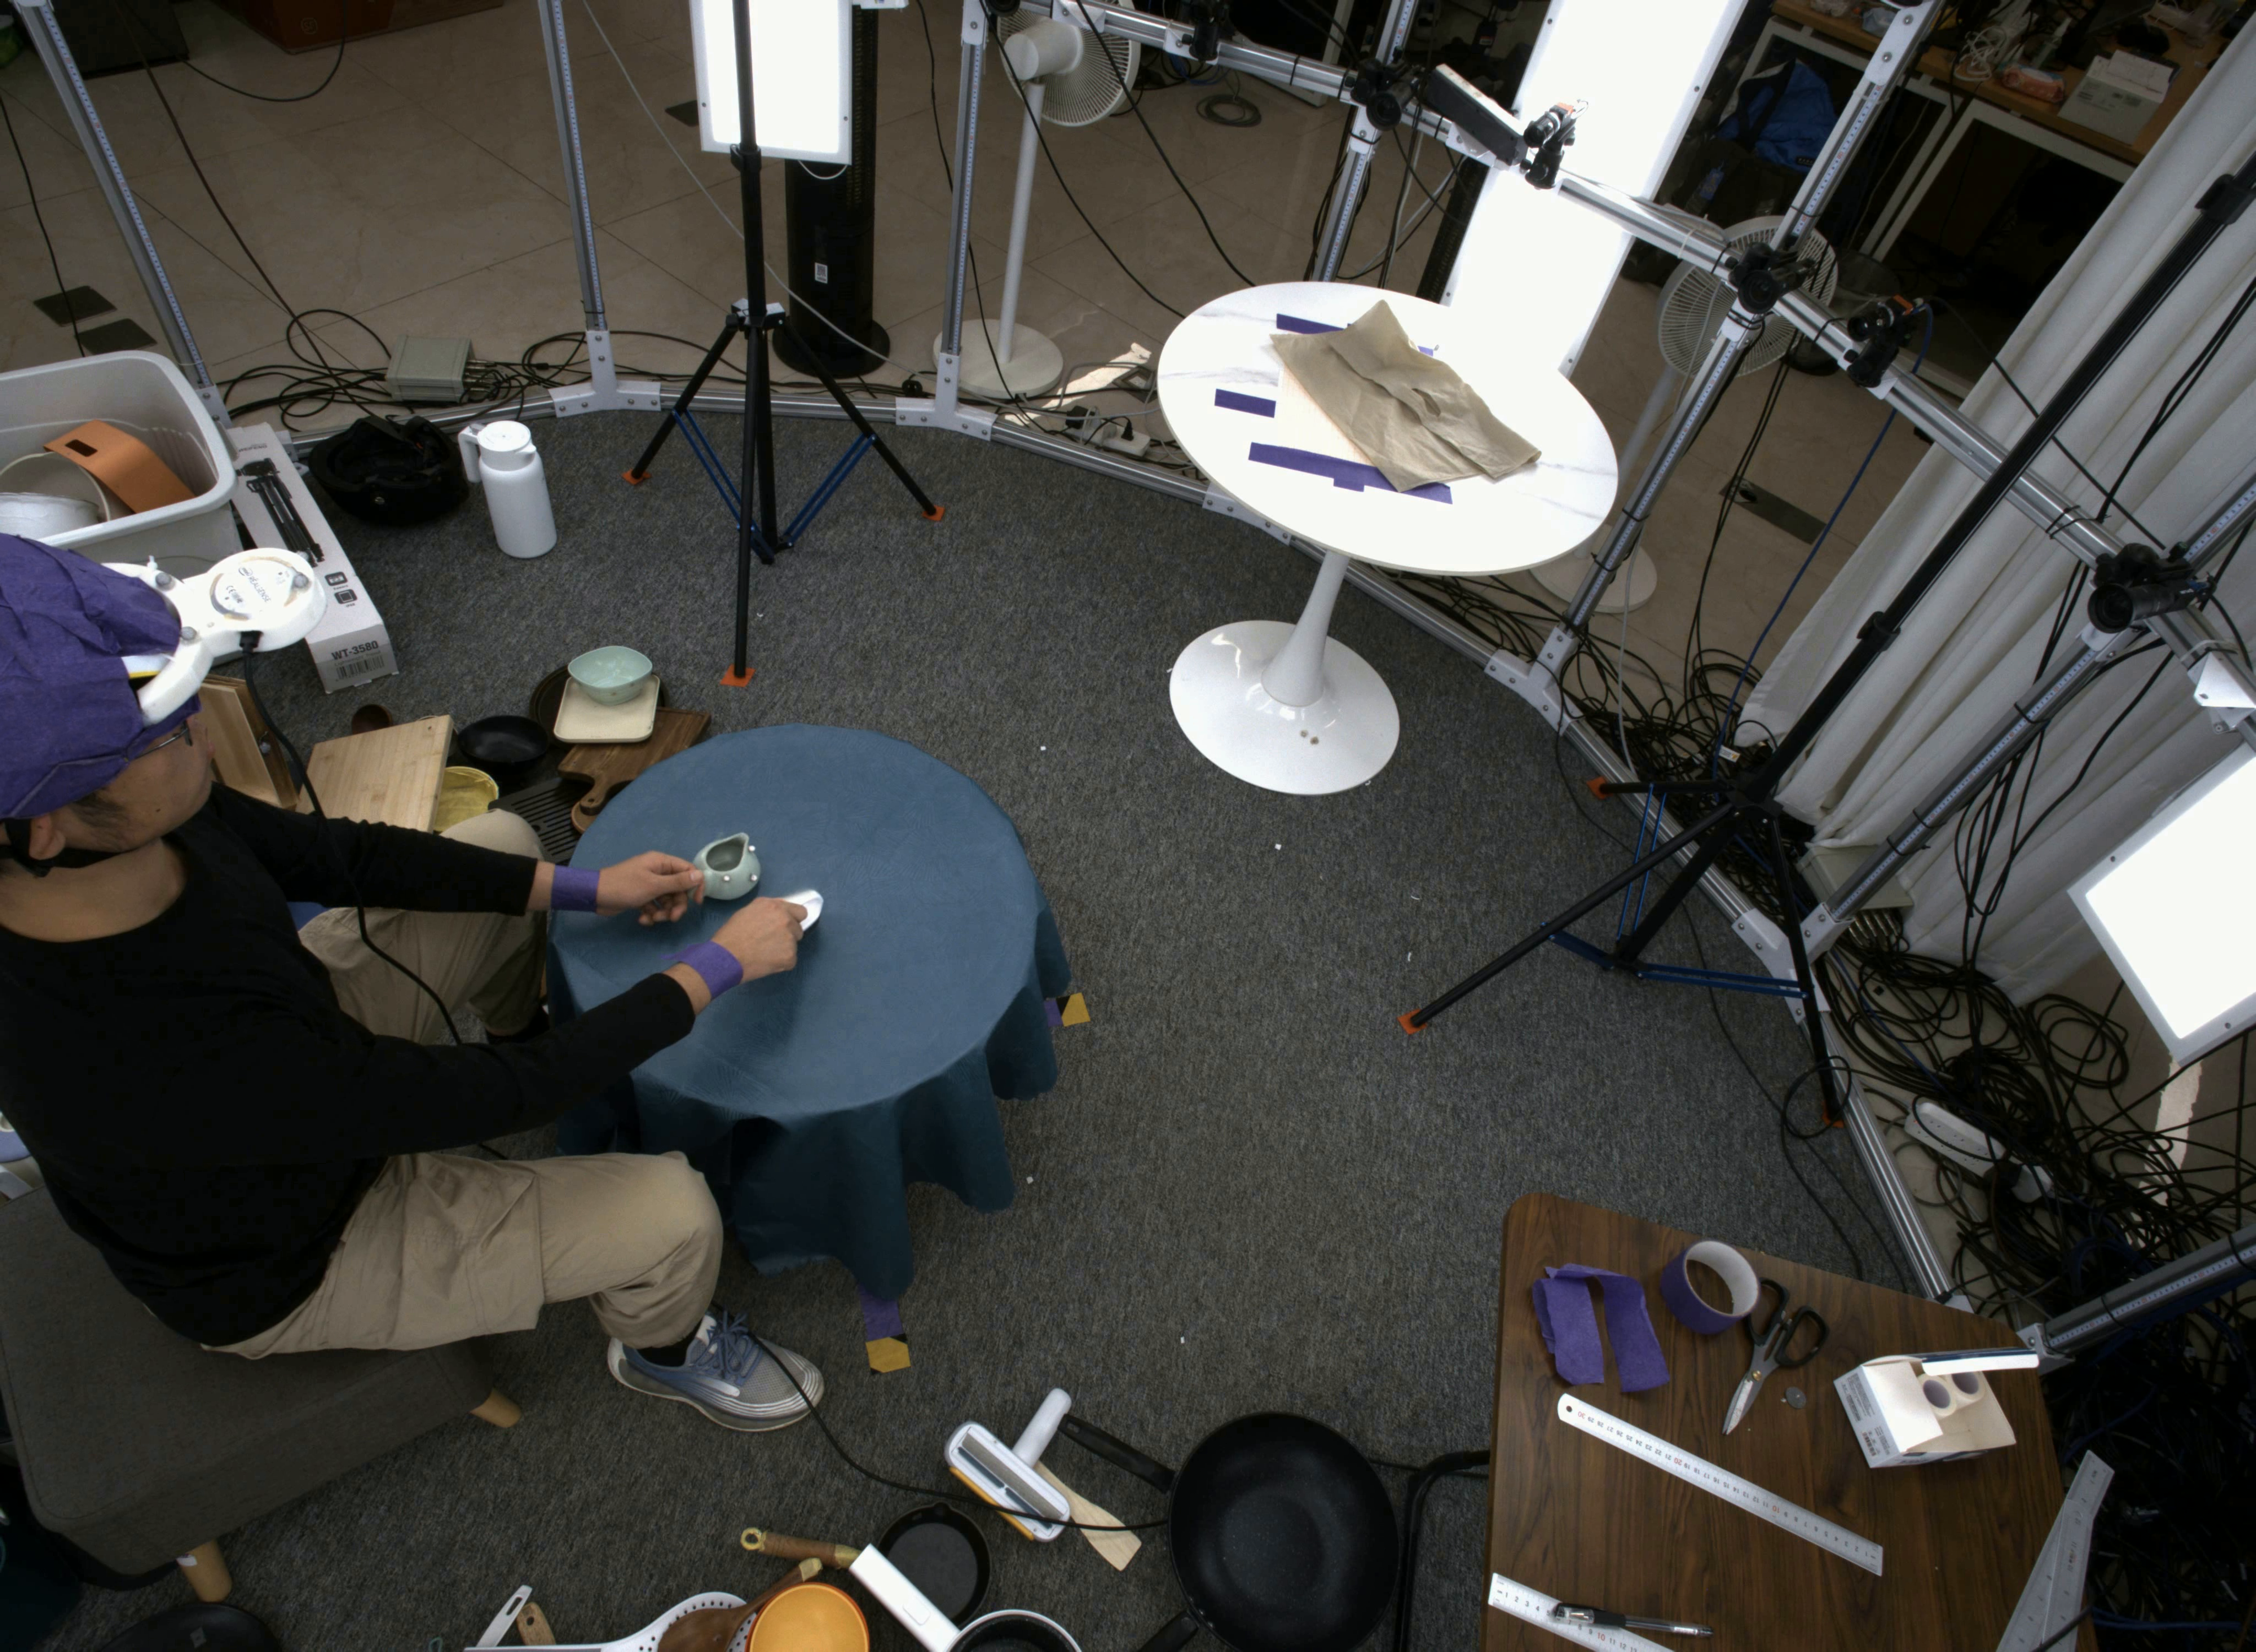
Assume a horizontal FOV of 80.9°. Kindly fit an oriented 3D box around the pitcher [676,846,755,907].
[{"bbox_3d":[-0.519,0.062,1.616,0.085,0.060,0.109,50,41,11],"label":"pitcher"}]

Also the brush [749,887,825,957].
[{"bbox_3d":[-0.414,0.108,1.579,0.050,0.073,0.099,47,54,10],"label":"brush"}]
